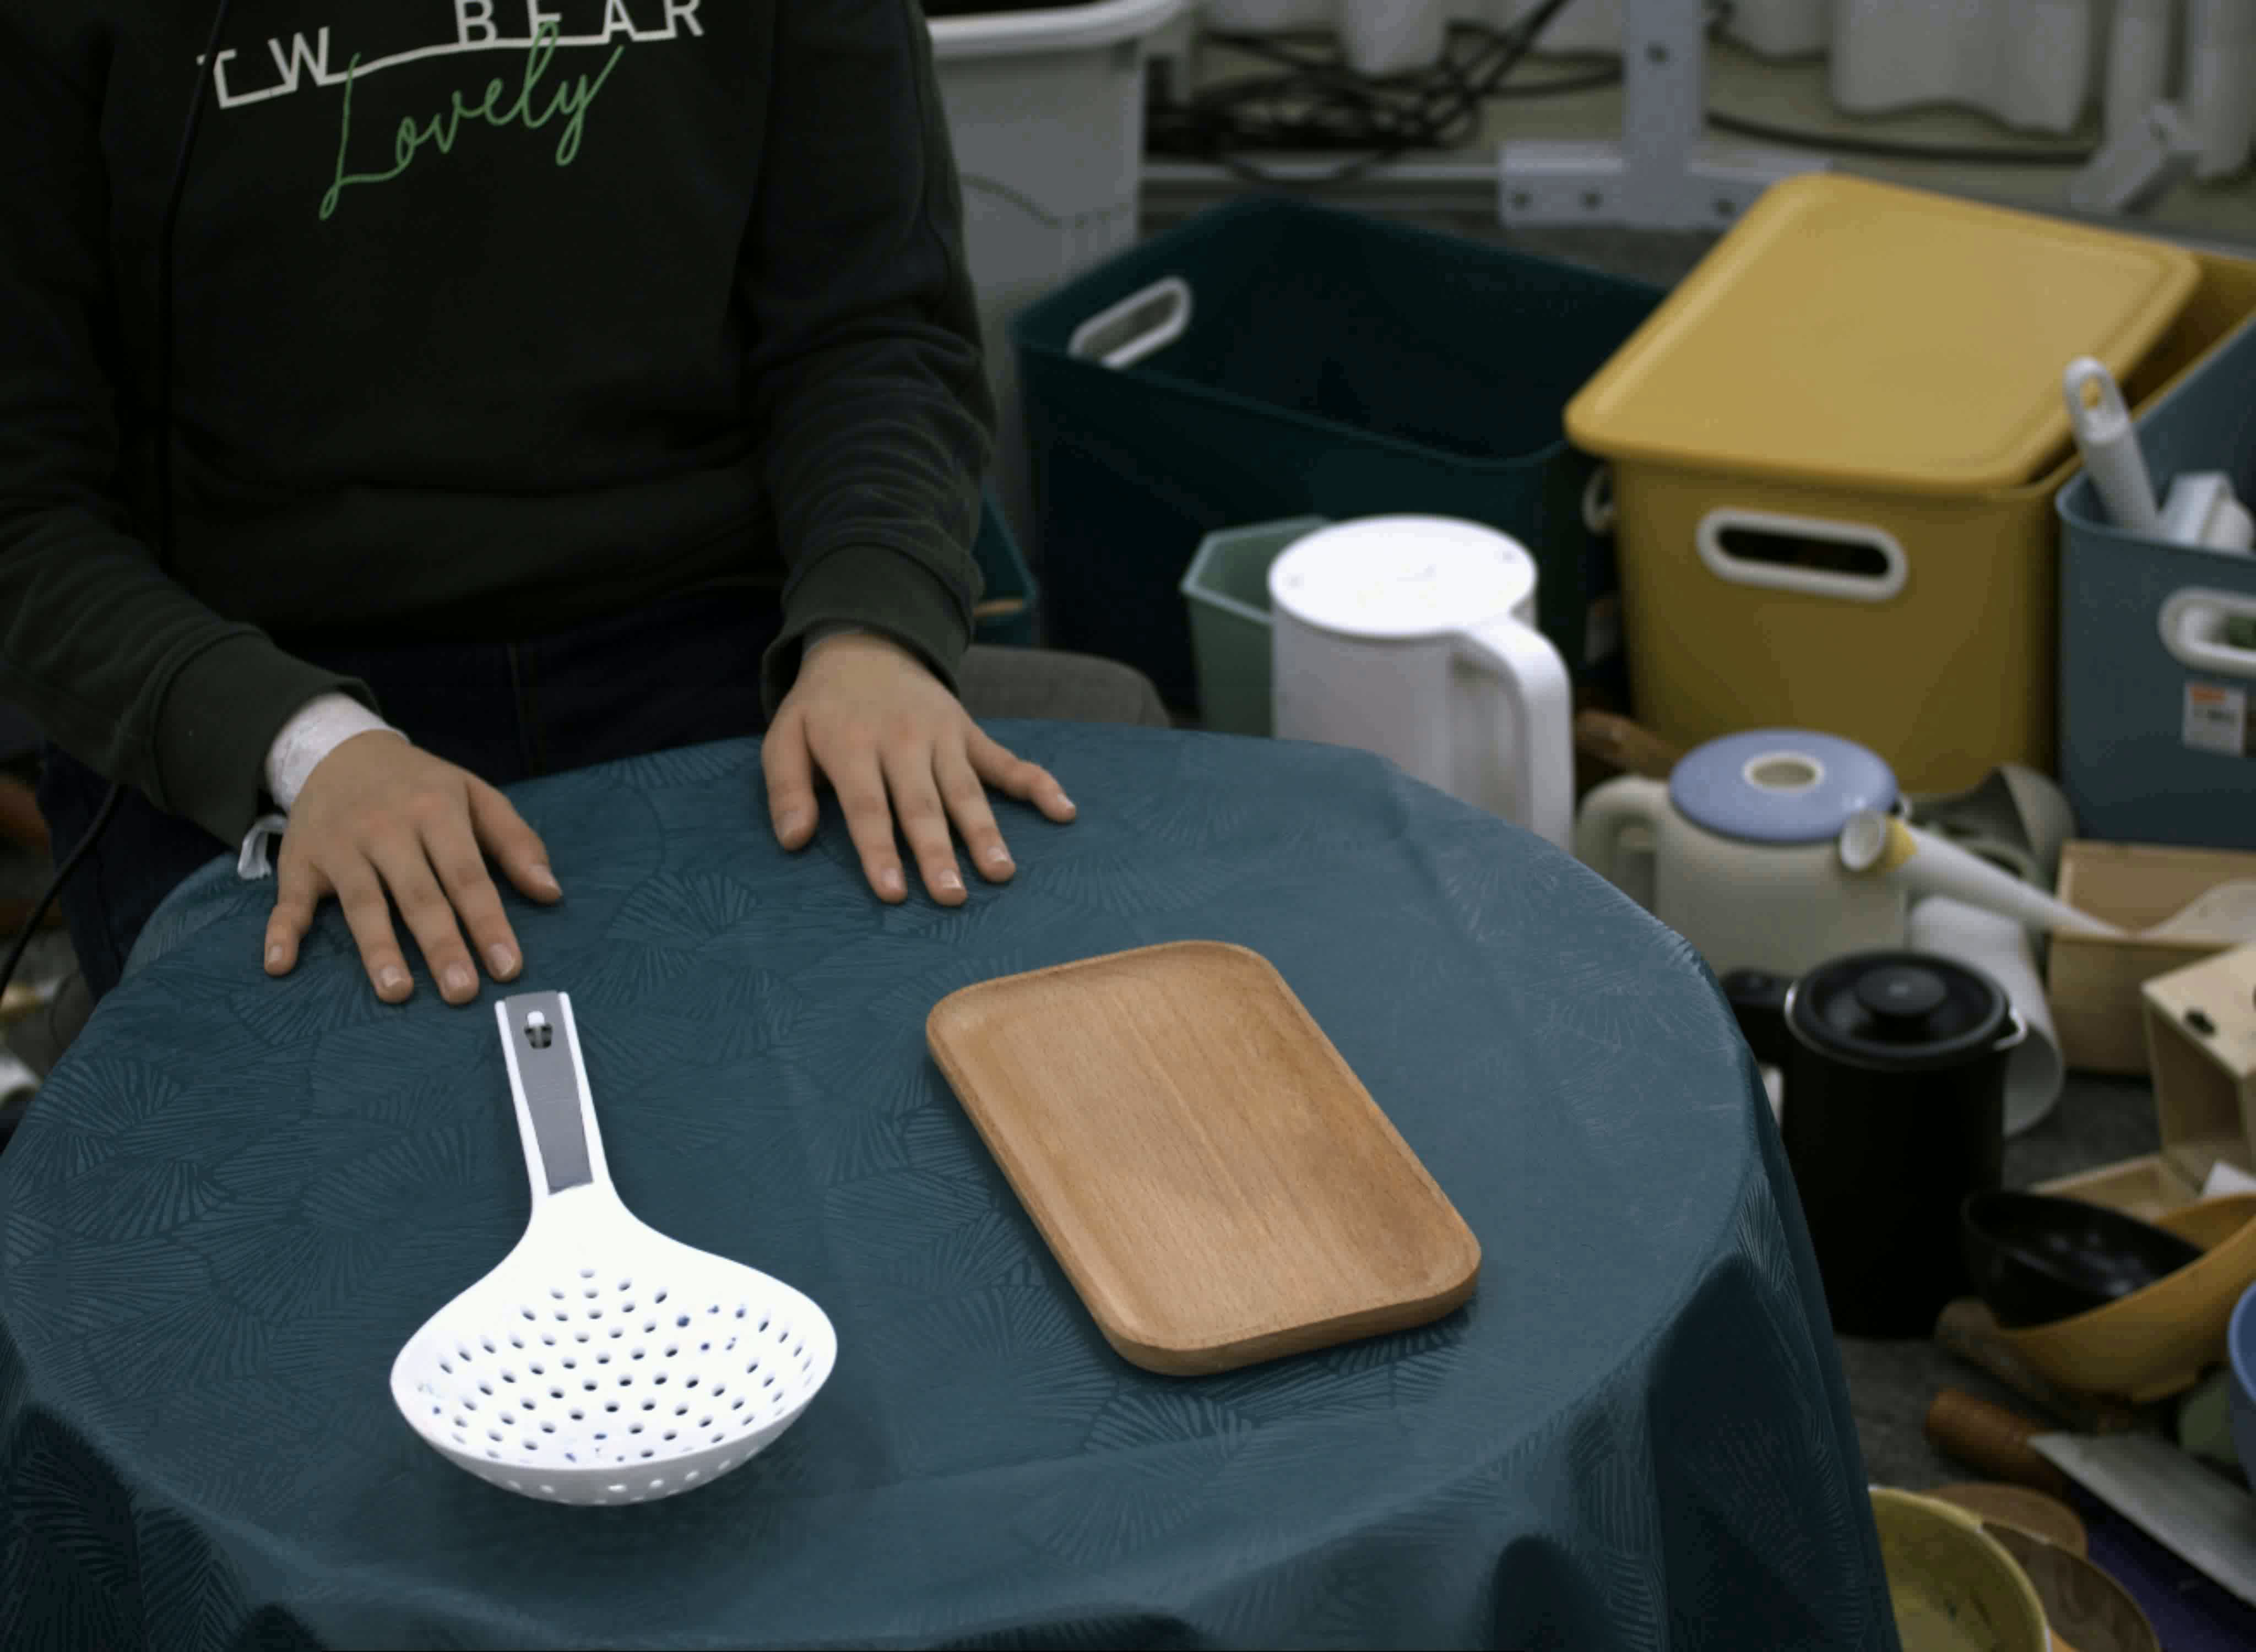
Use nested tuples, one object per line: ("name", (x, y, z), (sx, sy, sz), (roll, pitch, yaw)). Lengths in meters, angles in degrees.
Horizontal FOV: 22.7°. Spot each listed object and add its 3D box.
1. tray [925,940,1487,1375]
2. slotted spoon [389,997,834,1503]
("tray", (0.022, 0.107, 1.869), (0.131, 0.022, 0.253), (-9, 27, -16))
("slotted spoon", (-0.177, 0.130, 1.813), (0.136, 0.045, 0.354), (-5, 26, -9))
